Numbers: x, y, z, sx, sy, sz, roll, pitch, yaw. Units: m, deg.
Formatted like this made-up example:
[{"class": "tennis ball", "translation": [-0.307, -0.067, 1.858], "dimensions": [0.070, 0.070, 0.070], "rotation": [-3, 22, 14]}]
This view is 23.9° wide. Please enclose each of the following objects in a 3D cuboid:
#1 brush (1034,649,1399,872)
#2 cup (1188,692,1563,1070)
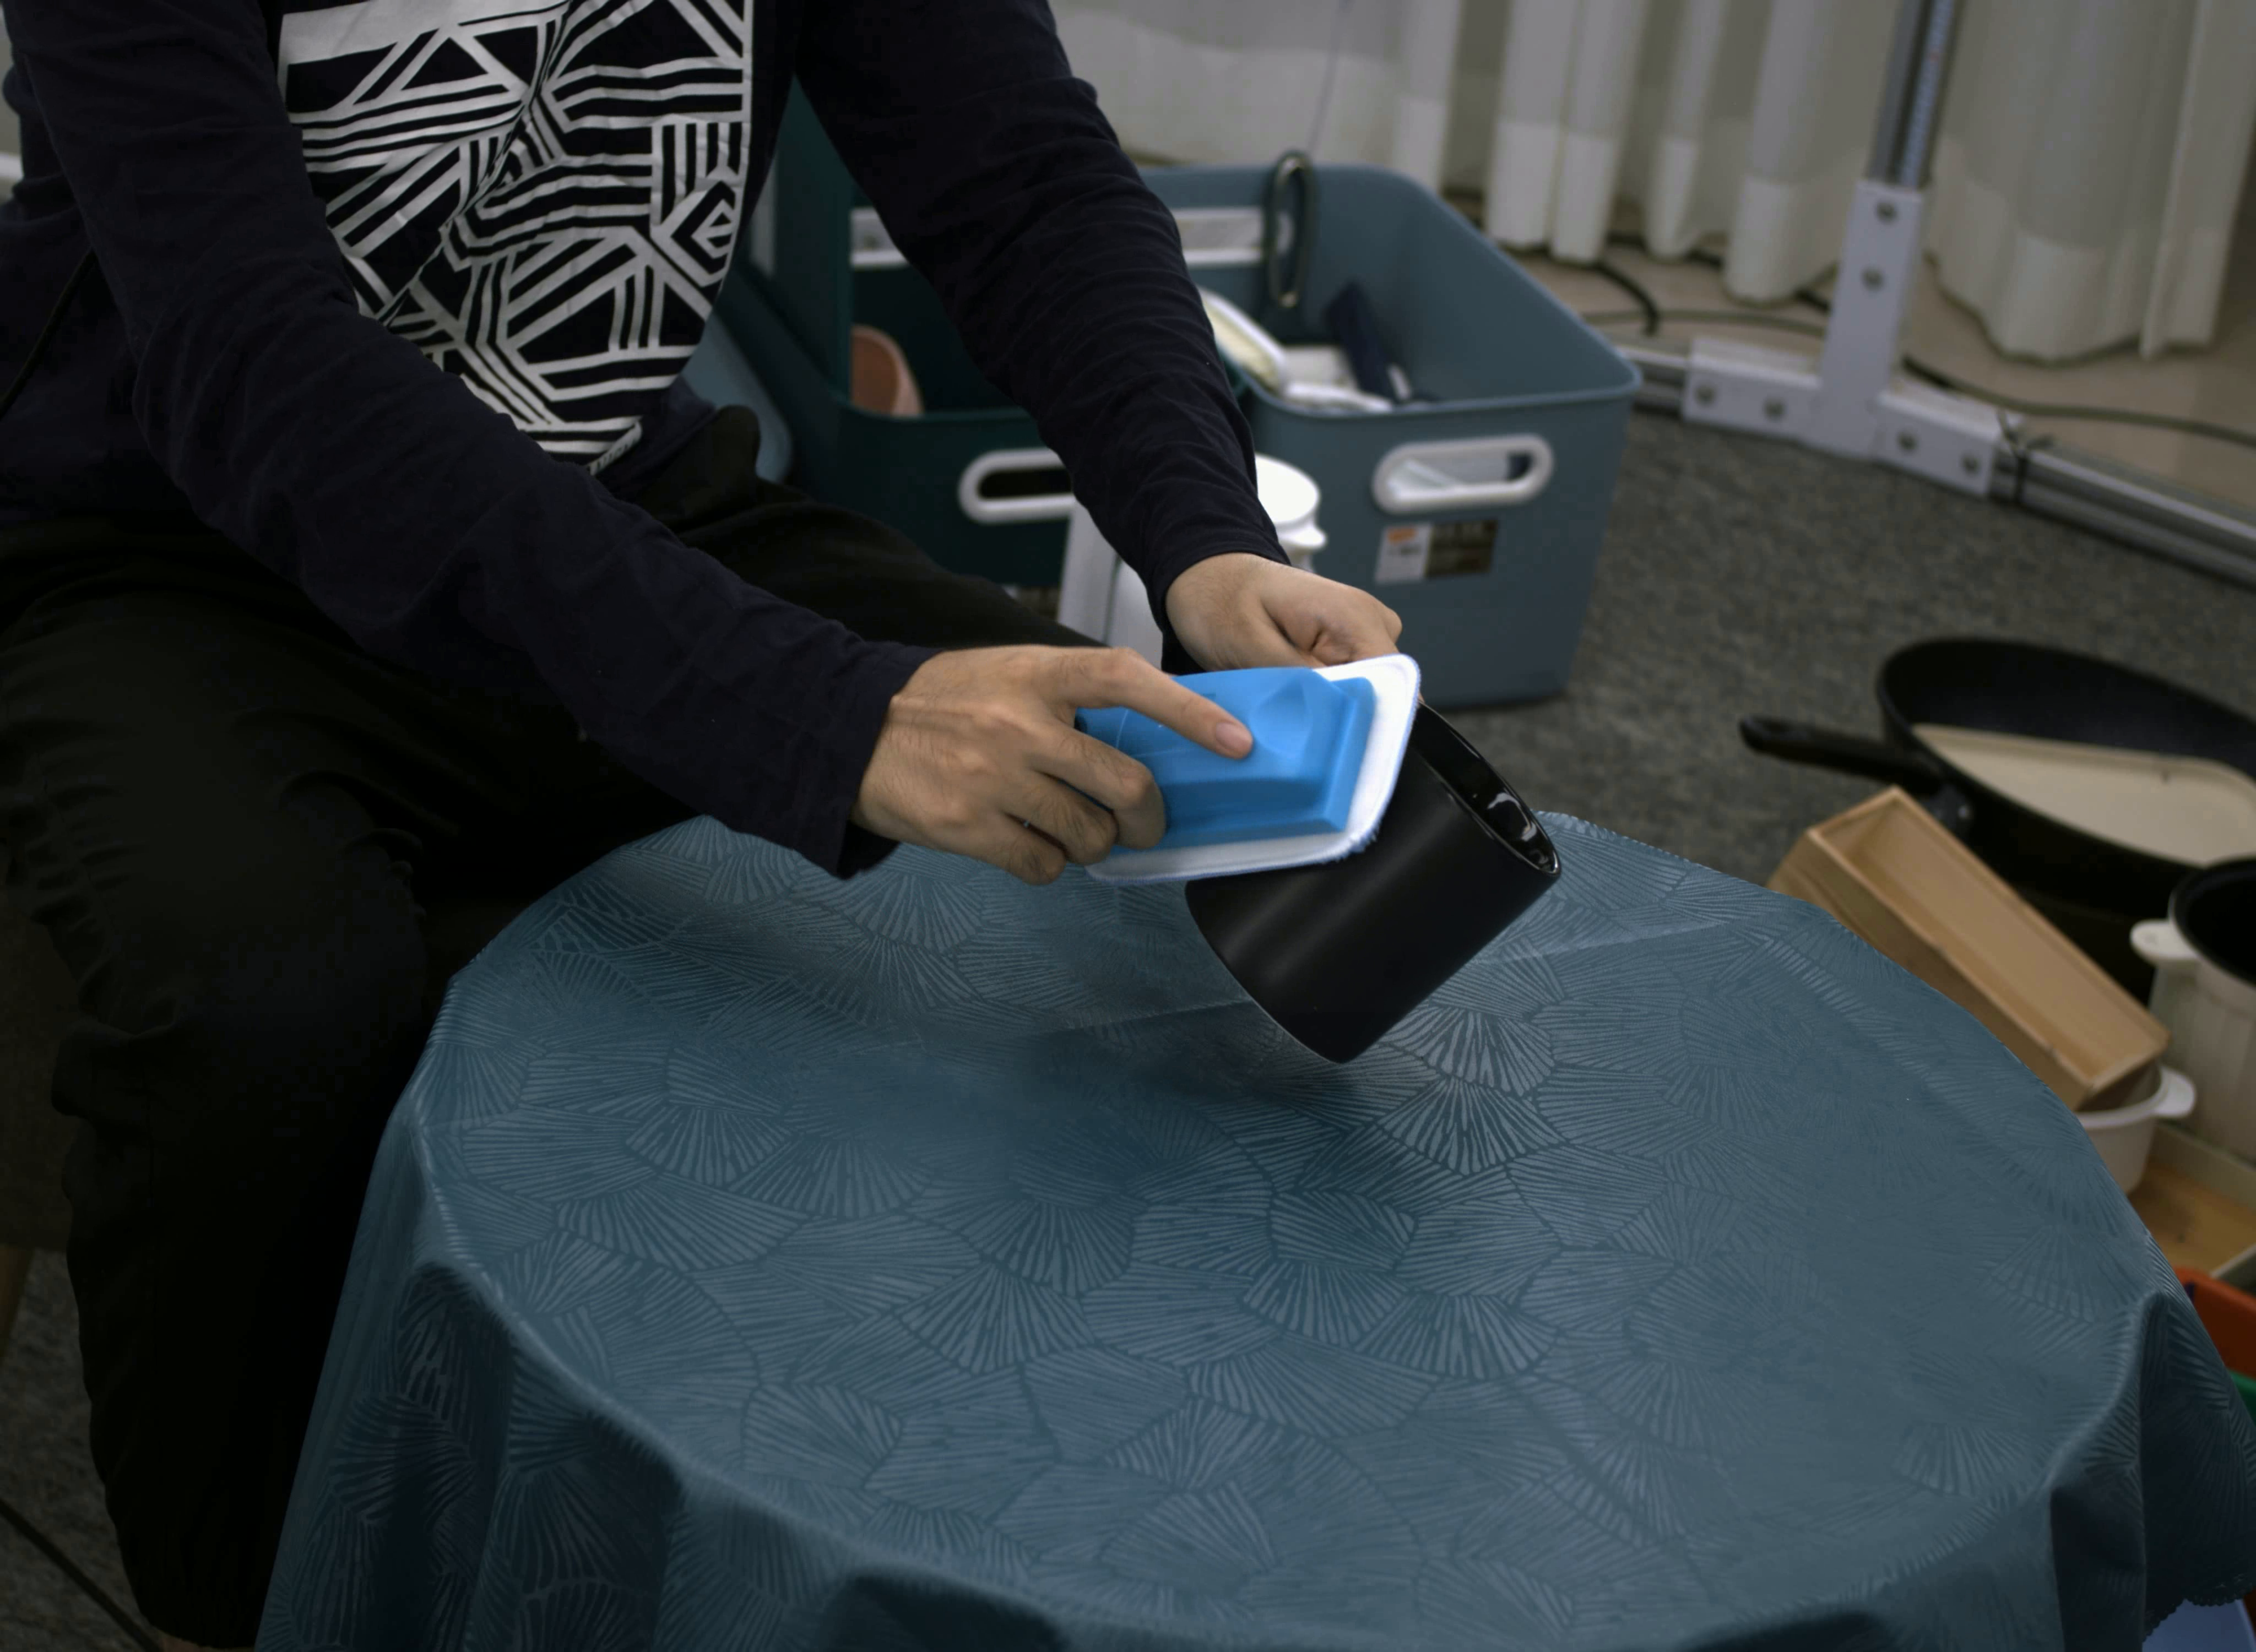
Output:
[{"class": "brush", "translation": [0.023, -0.028, 1.854], "dimensions": [0.144, 0.084, 0.055], "rotation": [0, -29, 42]}, {"class": "cup", "translation": [0.080, 0.009, 1.881], "dimensions": [0.088, 0.105, 0.125], "rotation": [29, 20, -45]}]
